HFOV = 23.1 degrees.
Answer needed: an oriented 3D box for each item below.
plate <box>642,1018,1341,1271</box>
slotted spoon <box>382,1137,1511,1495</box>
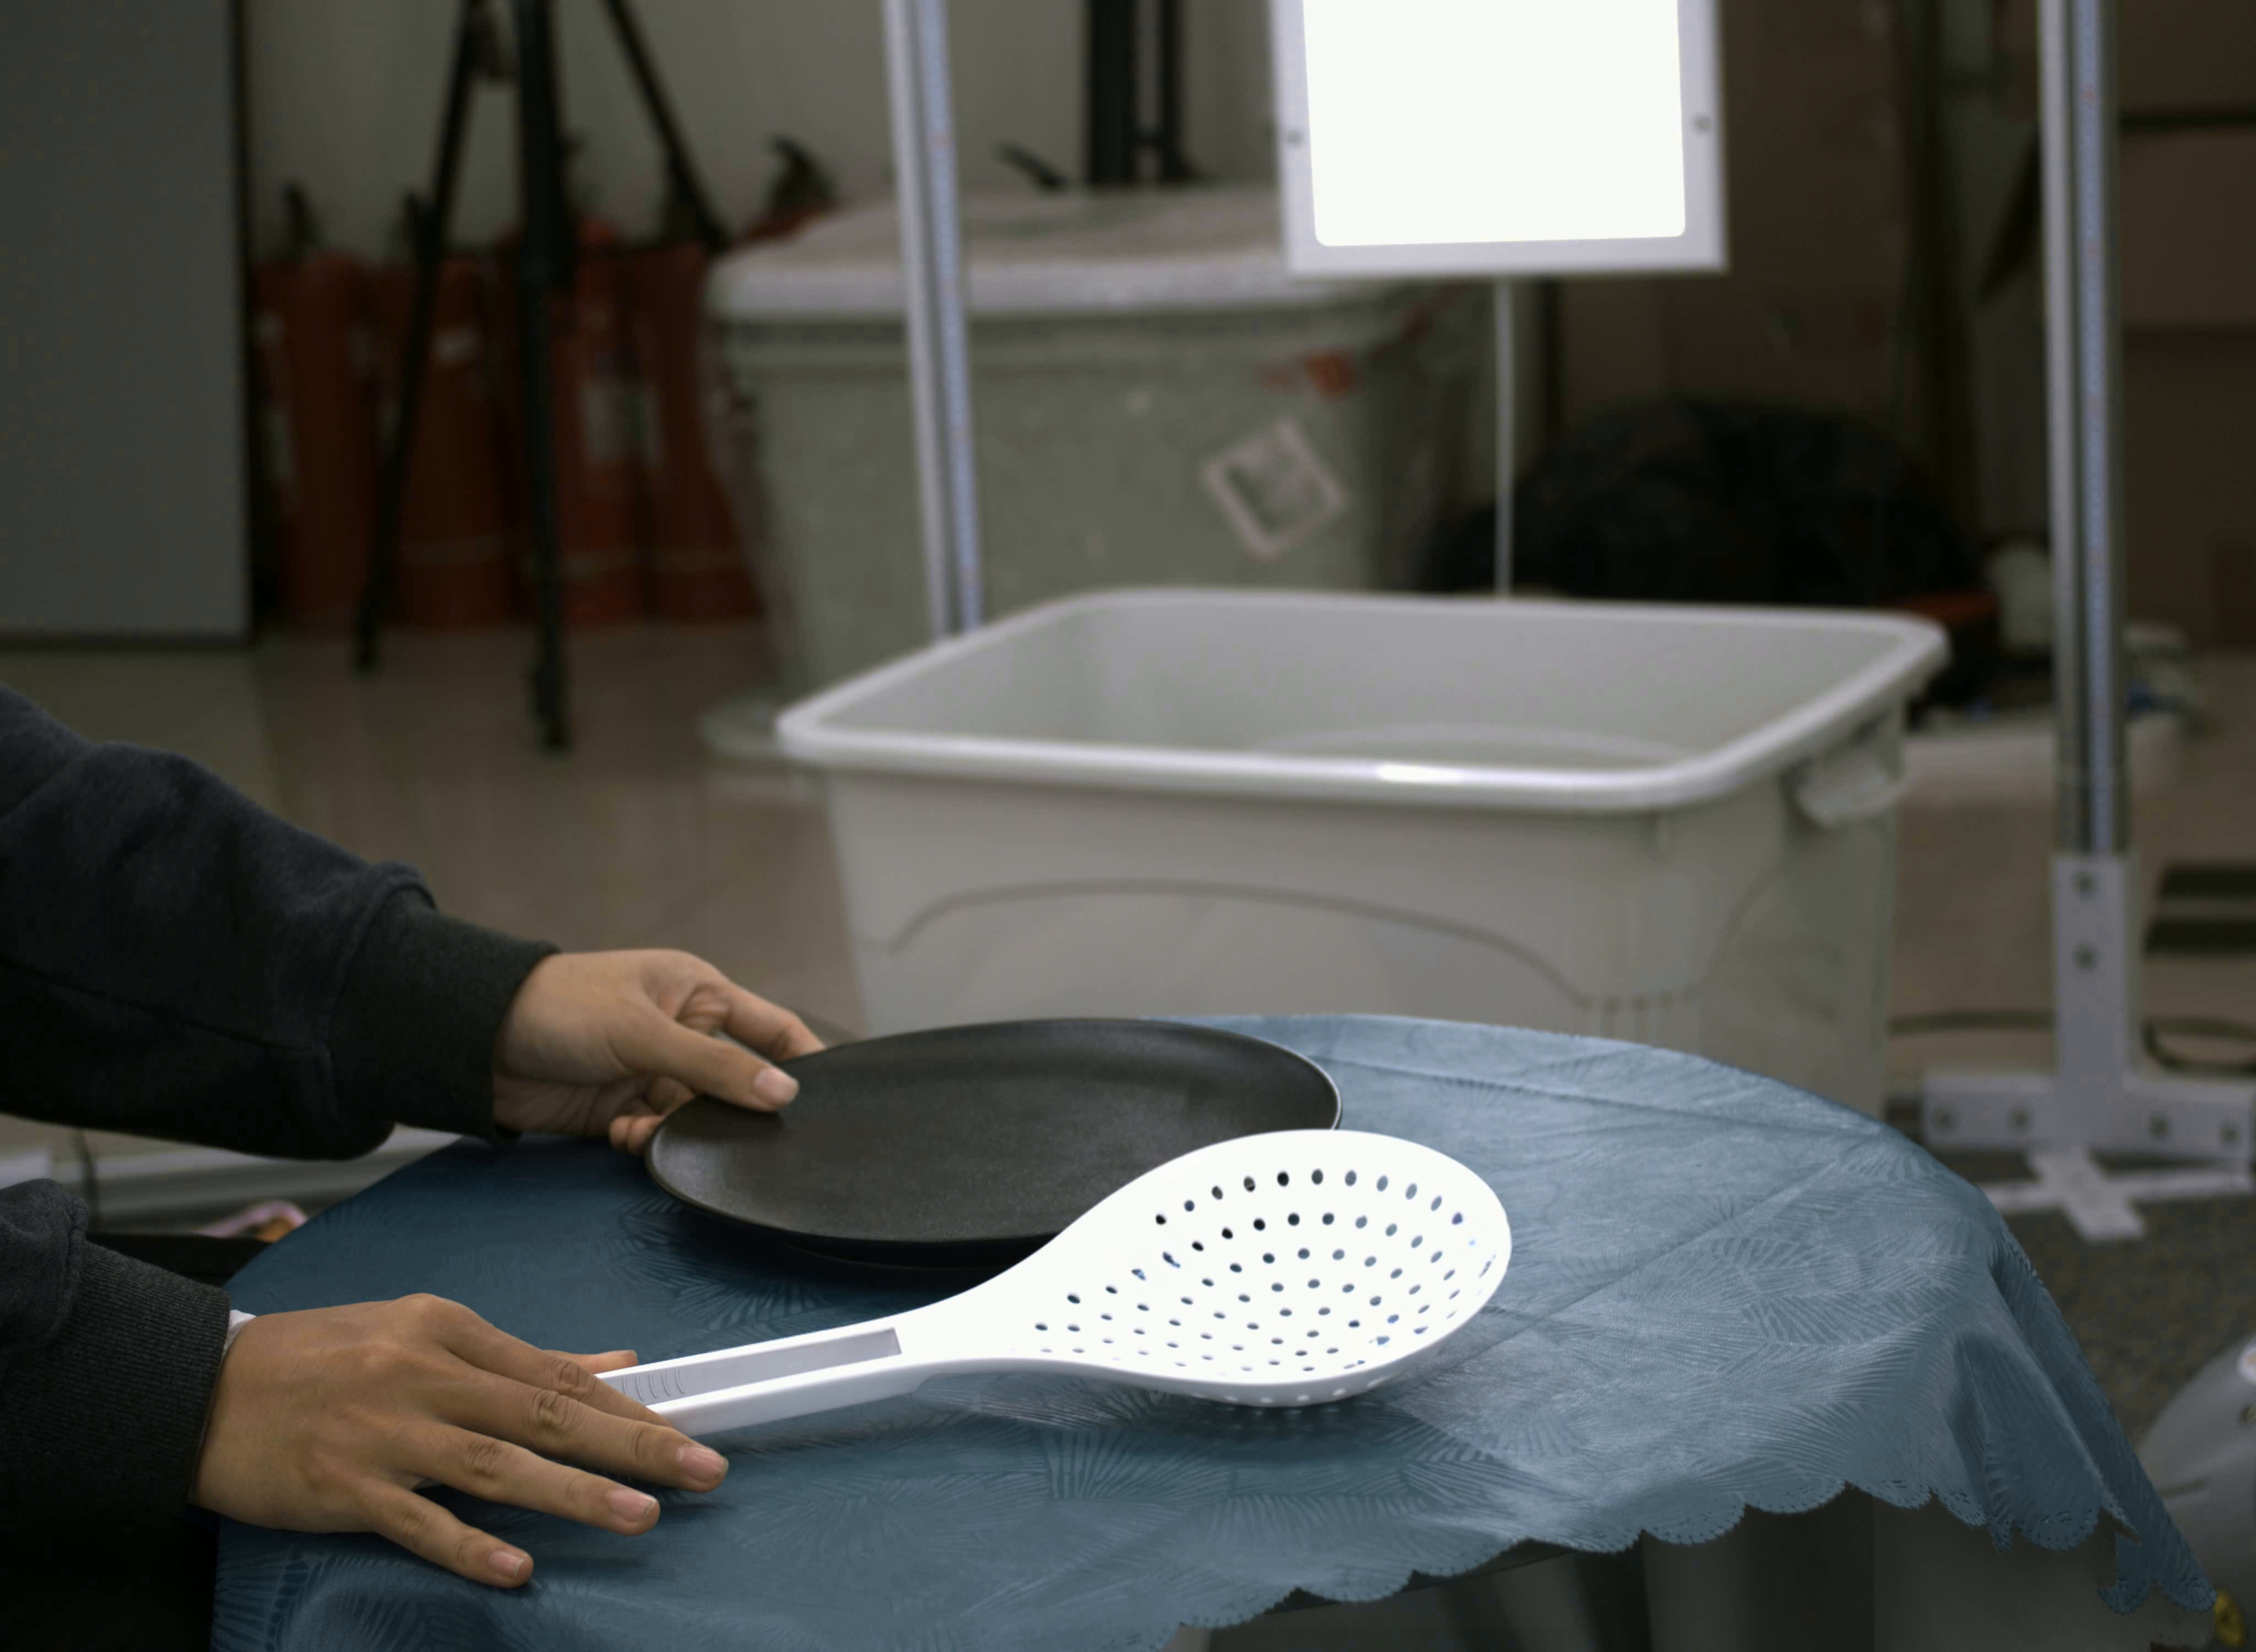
[{"bbox_3d":[-0.046,0.113,1.912,0.244,0.023,0.244,-5,15,0],"label":"plate"},{"bbox_3d":[-0.053,0.158,1.682,0.346,0.046,0.136,-7,26,-8],"label":"slotted spoon"}]
